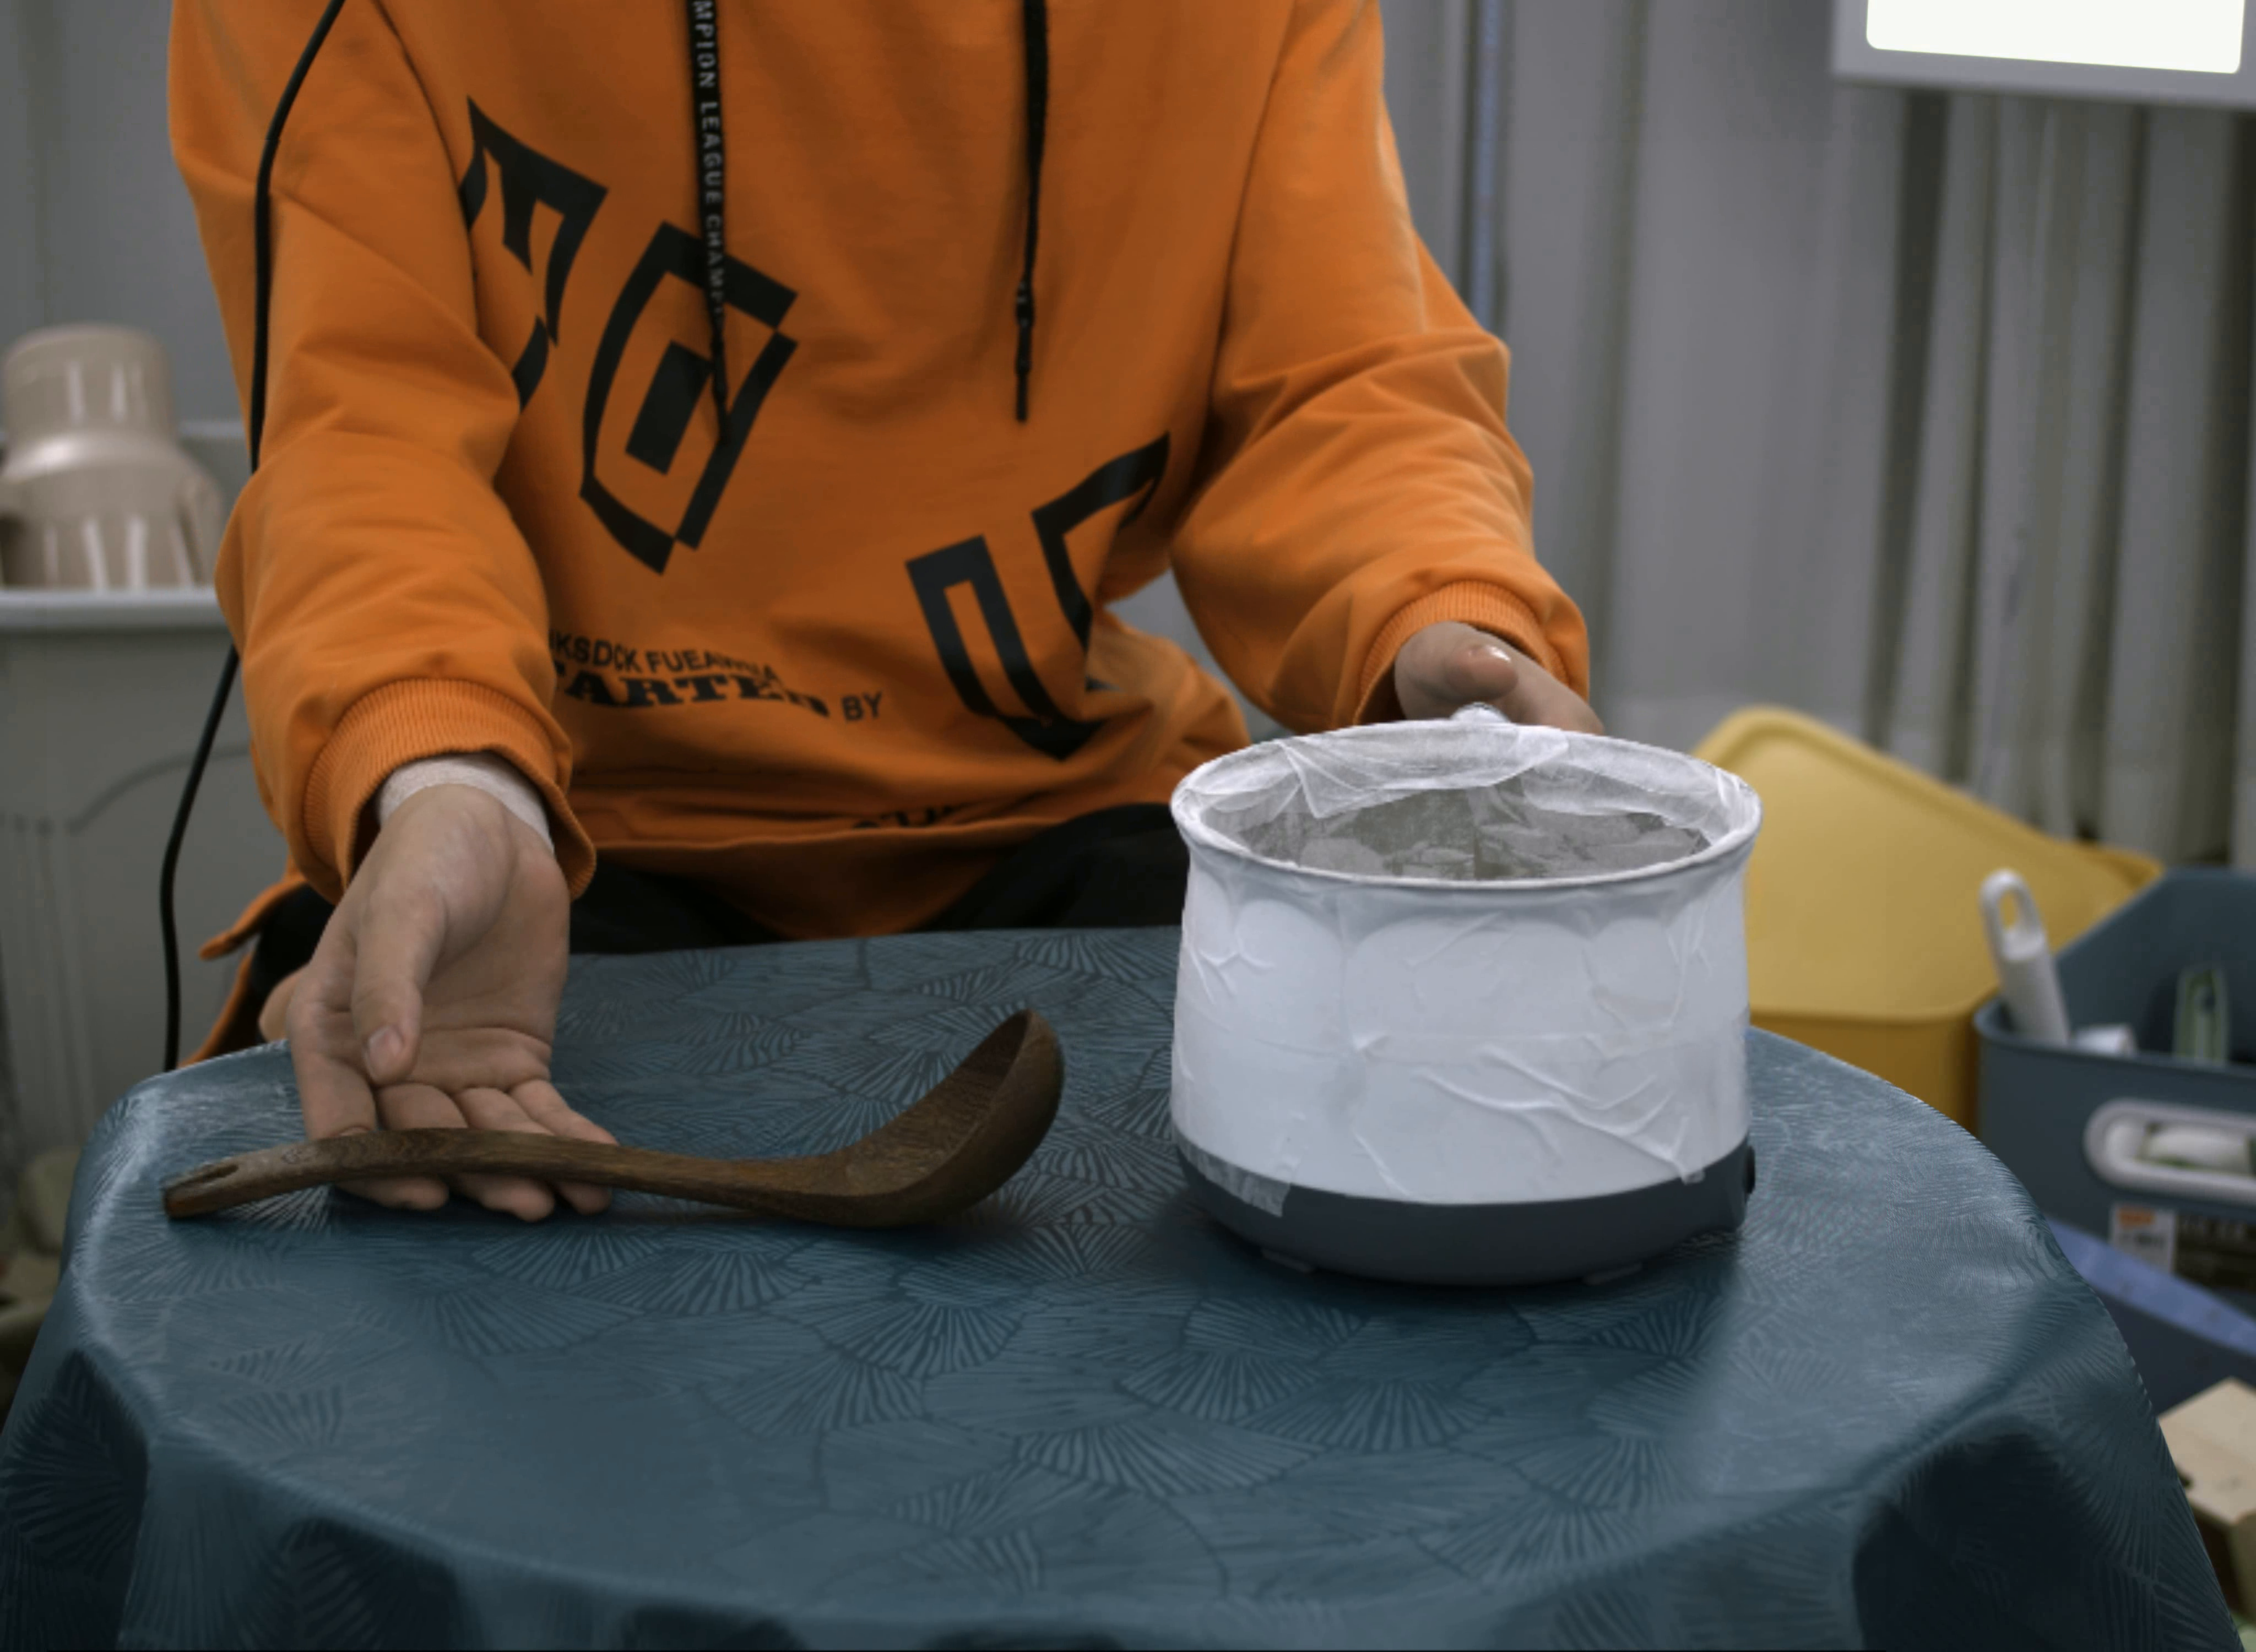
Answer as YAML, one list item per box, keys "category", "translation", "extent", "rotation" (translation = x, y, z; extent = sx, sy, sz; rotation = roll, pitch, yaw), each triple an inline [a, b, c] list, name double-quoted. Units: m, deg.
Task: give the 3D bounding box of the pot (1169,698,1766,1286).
- category: "pot"
  translation: [0.102, 0.045, 1.609]
  extent: [0.178, 0.138, 0.232]
  rotation: [2, 16, 3]

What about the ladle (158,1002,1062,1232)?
- category: "ladle"
  translation: [-0.156, 0.085, 1.584]
  extent: [0.273, 0.072, 0.075]
  rotation: [1, 16, 1]
